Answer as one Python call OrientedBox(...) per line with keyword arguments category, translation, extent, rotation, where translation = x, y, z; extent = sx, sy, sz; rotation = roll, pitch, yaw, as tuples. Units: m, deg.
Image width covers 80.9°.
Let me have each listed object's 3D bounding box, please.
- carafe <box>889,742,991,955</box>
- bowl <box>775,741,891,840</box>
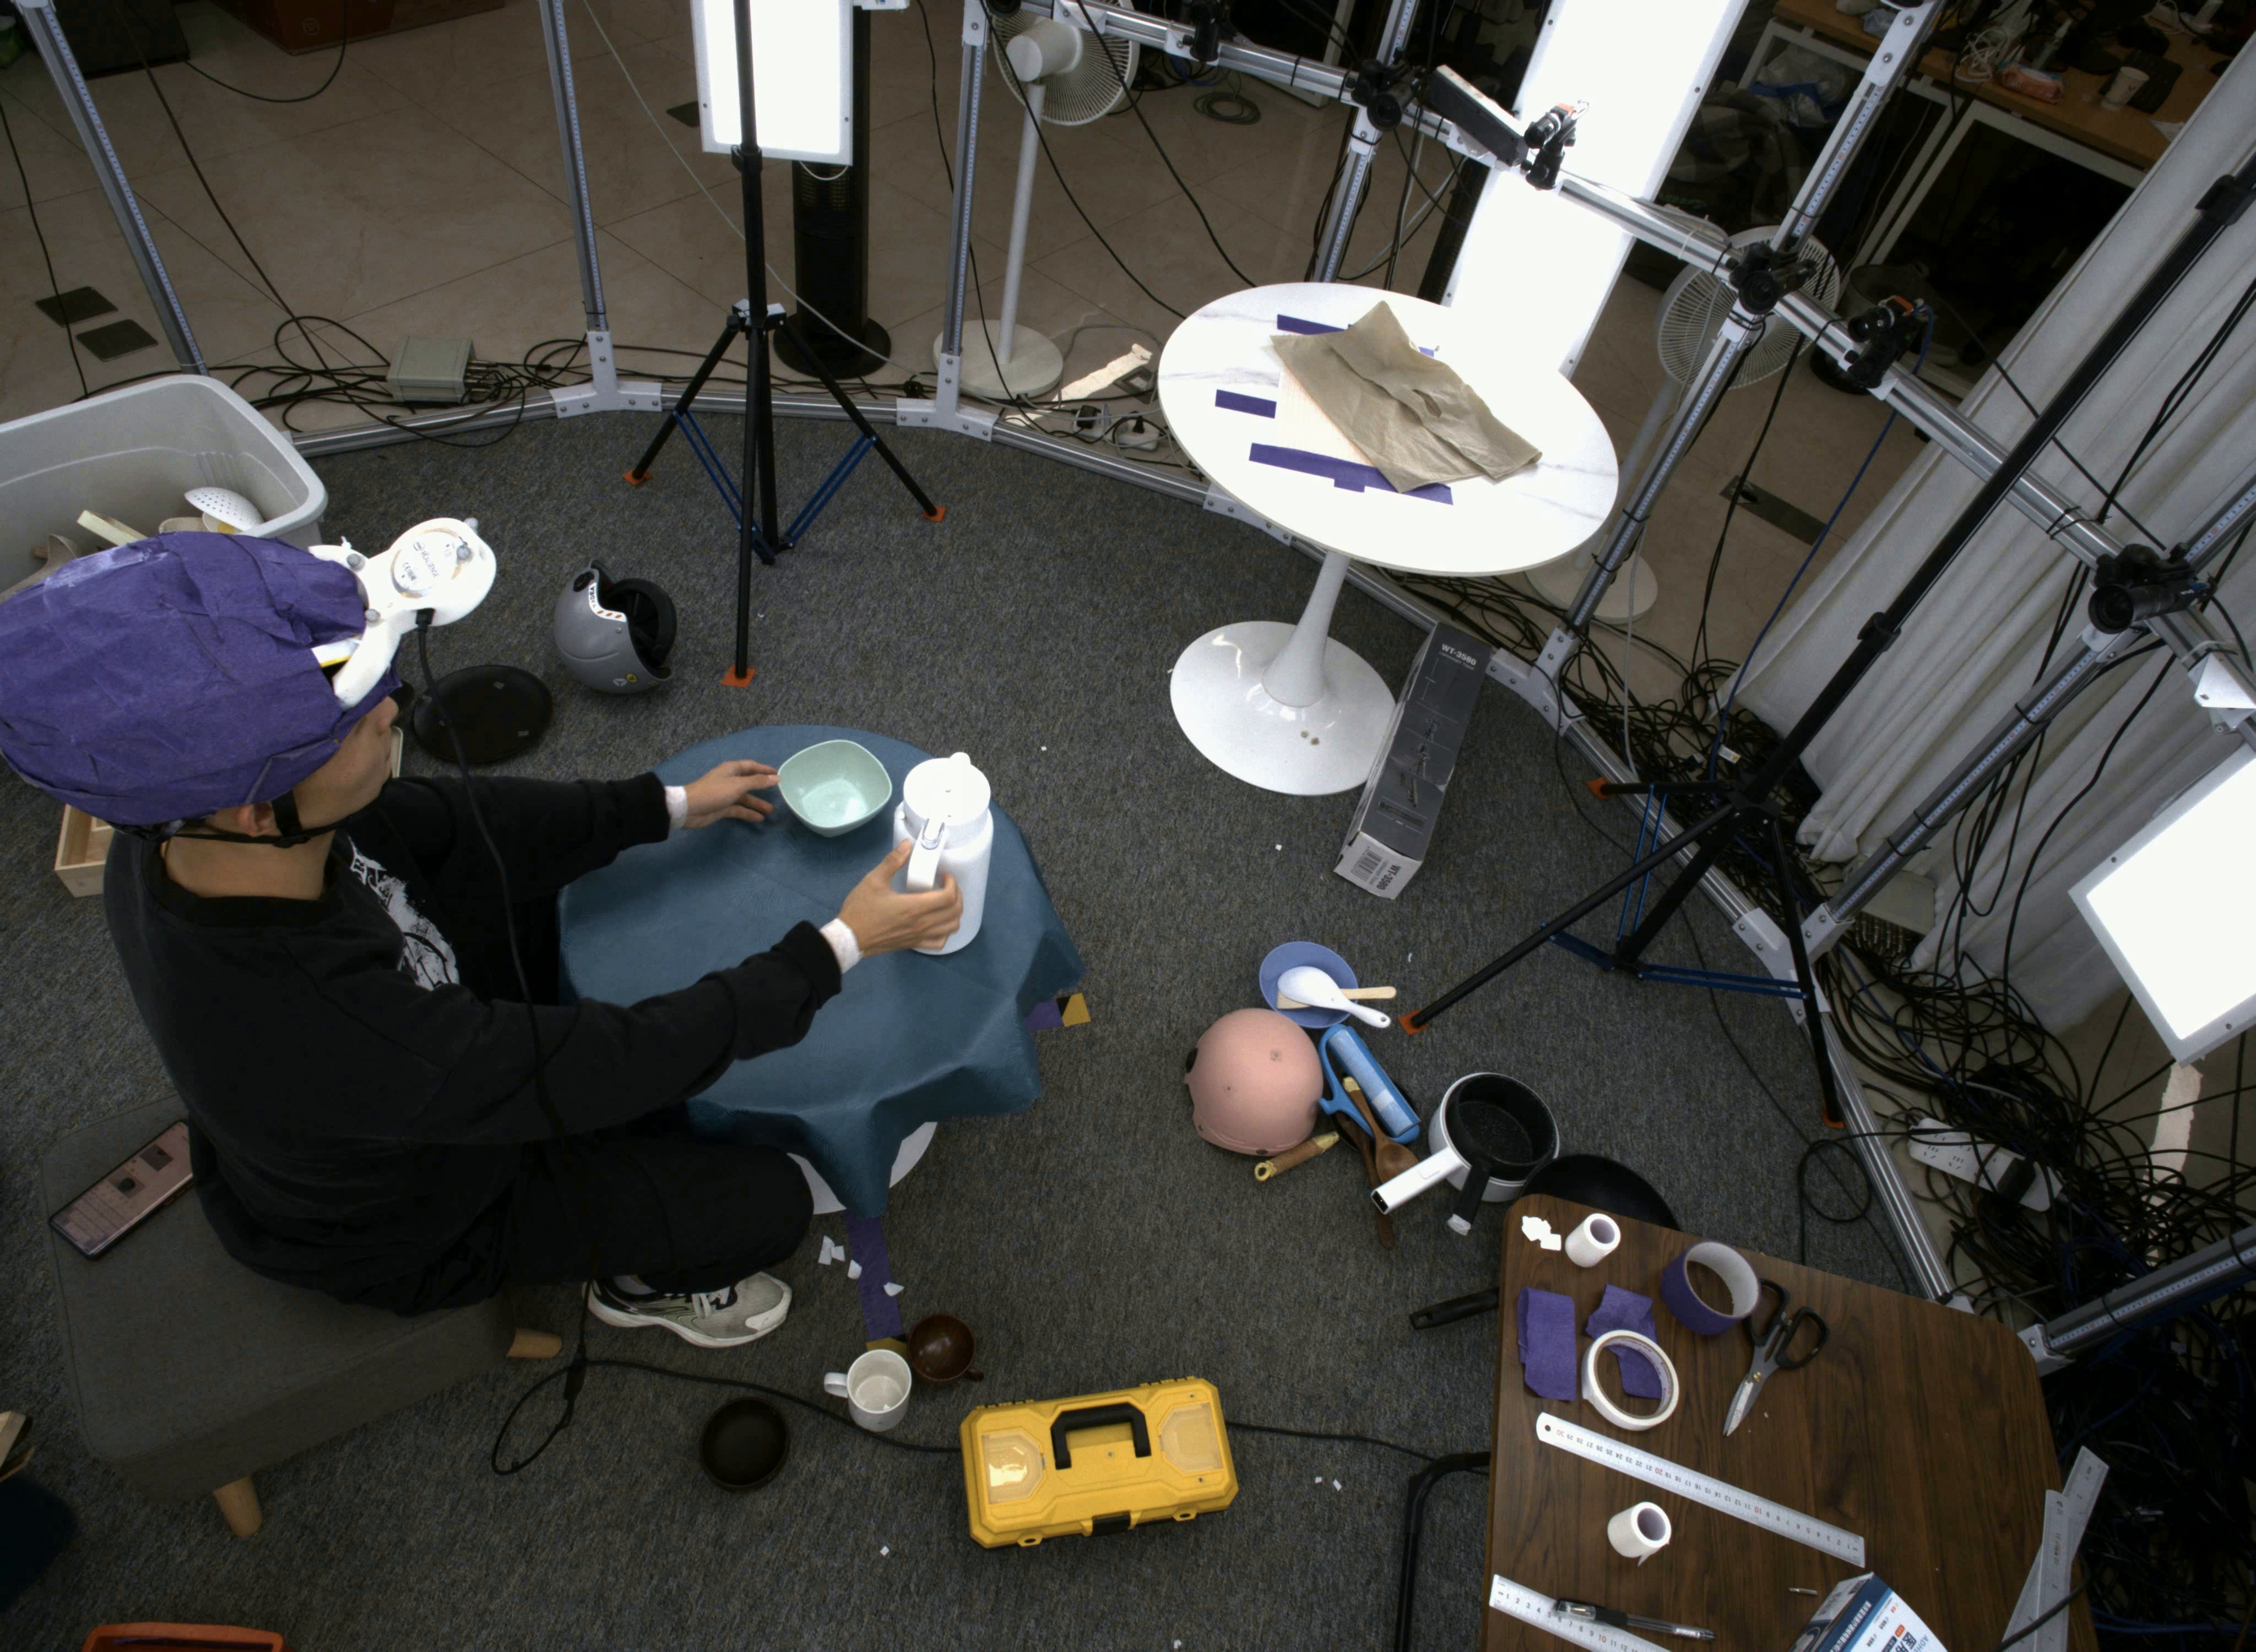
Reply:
OrientedBox(category="carafe", translation=(-0.230, 0.049, 1.563), extent=(0.123, 0.274, 0.170), rotation=(14, 51, -3))
OrientedBox(category="bowl", translation=(-0.391, -0.038, 1.725), extent=(0.151, 0.060, 0.149), rotation=(7, 52, -8))
